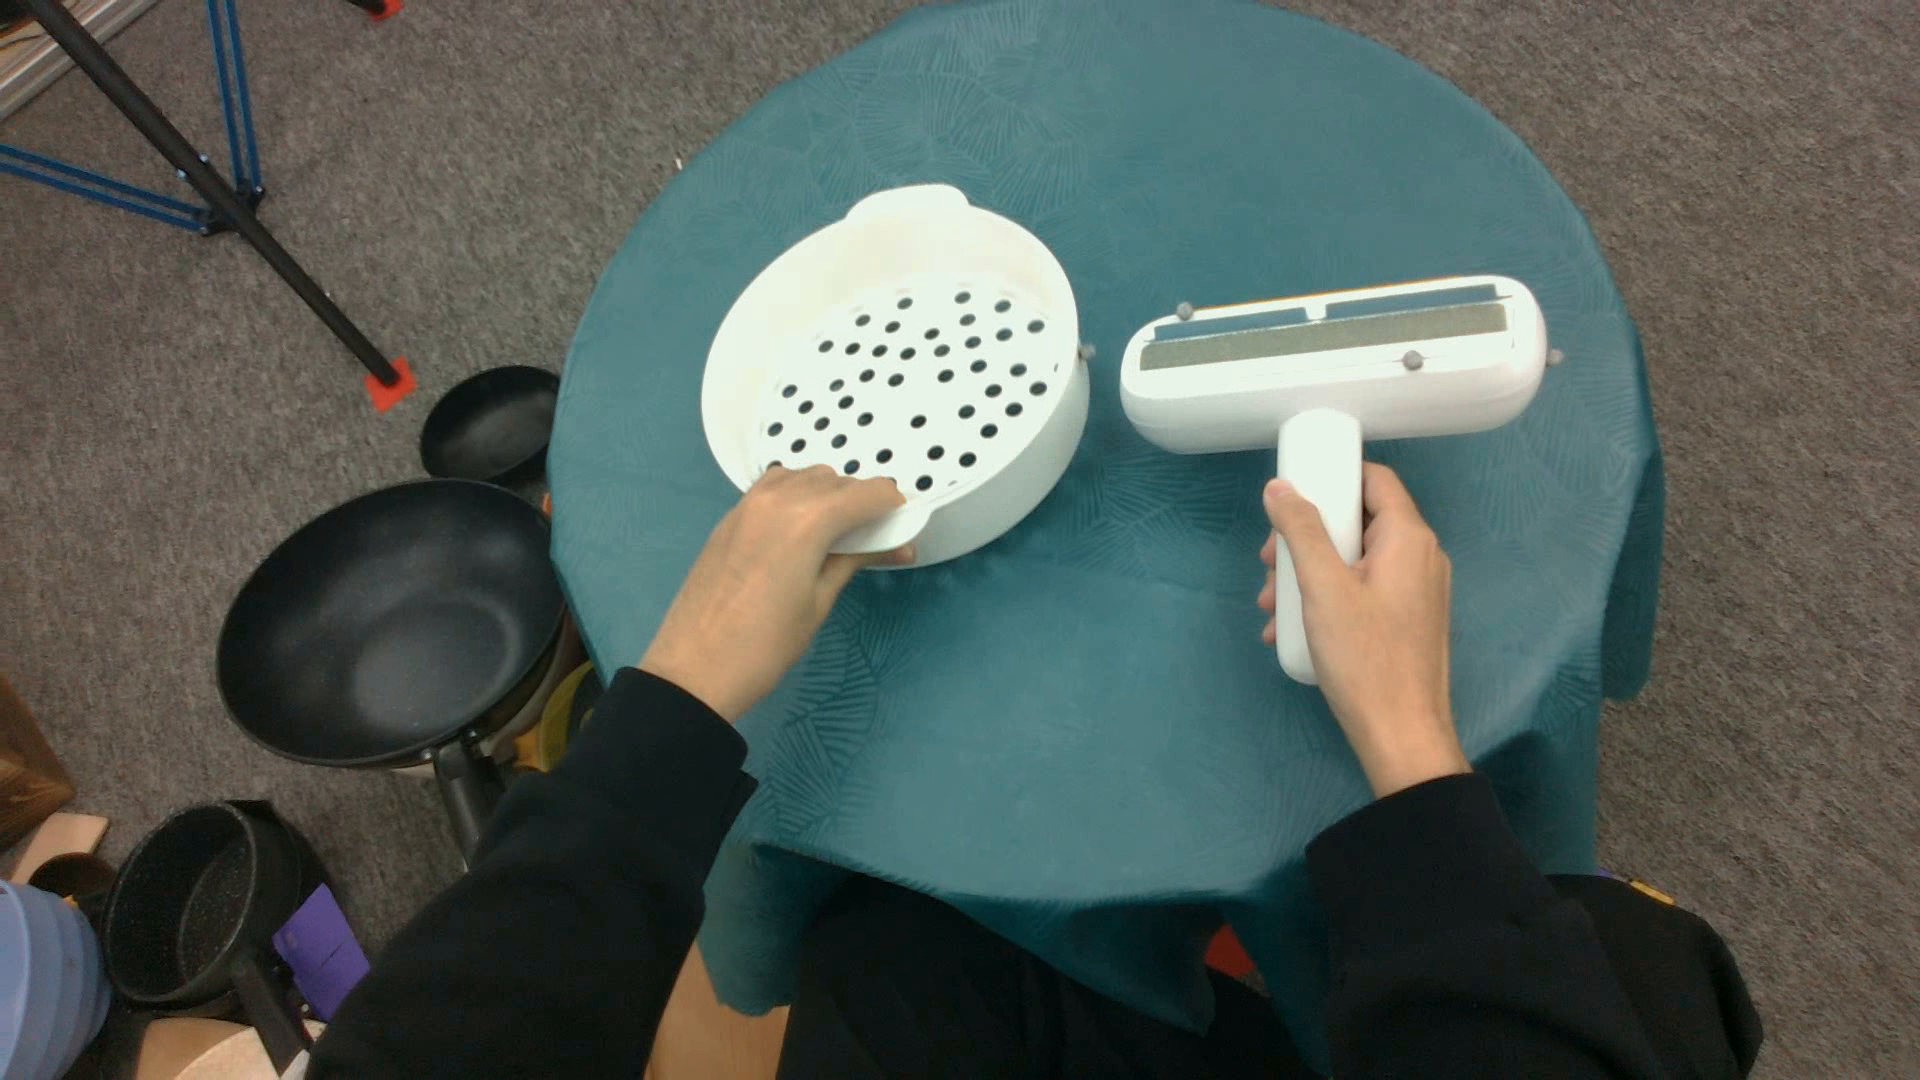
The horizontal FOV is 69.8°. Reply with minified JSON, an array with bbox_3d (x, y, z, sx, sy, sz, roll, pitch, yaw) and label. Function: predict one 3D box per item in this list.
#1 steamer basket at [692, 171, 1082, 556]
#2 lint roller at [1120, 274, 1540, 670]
[{"bbox_3d":[-0.037,-0.088,0.730,0.201,0.069,0.231,-2,62,15],"label":"steamer basket"},{"bbox_3d":[0.161,-0.036,0.636,0.192,0.074,0.193,3,60,20],"label":"lint roller"}]
